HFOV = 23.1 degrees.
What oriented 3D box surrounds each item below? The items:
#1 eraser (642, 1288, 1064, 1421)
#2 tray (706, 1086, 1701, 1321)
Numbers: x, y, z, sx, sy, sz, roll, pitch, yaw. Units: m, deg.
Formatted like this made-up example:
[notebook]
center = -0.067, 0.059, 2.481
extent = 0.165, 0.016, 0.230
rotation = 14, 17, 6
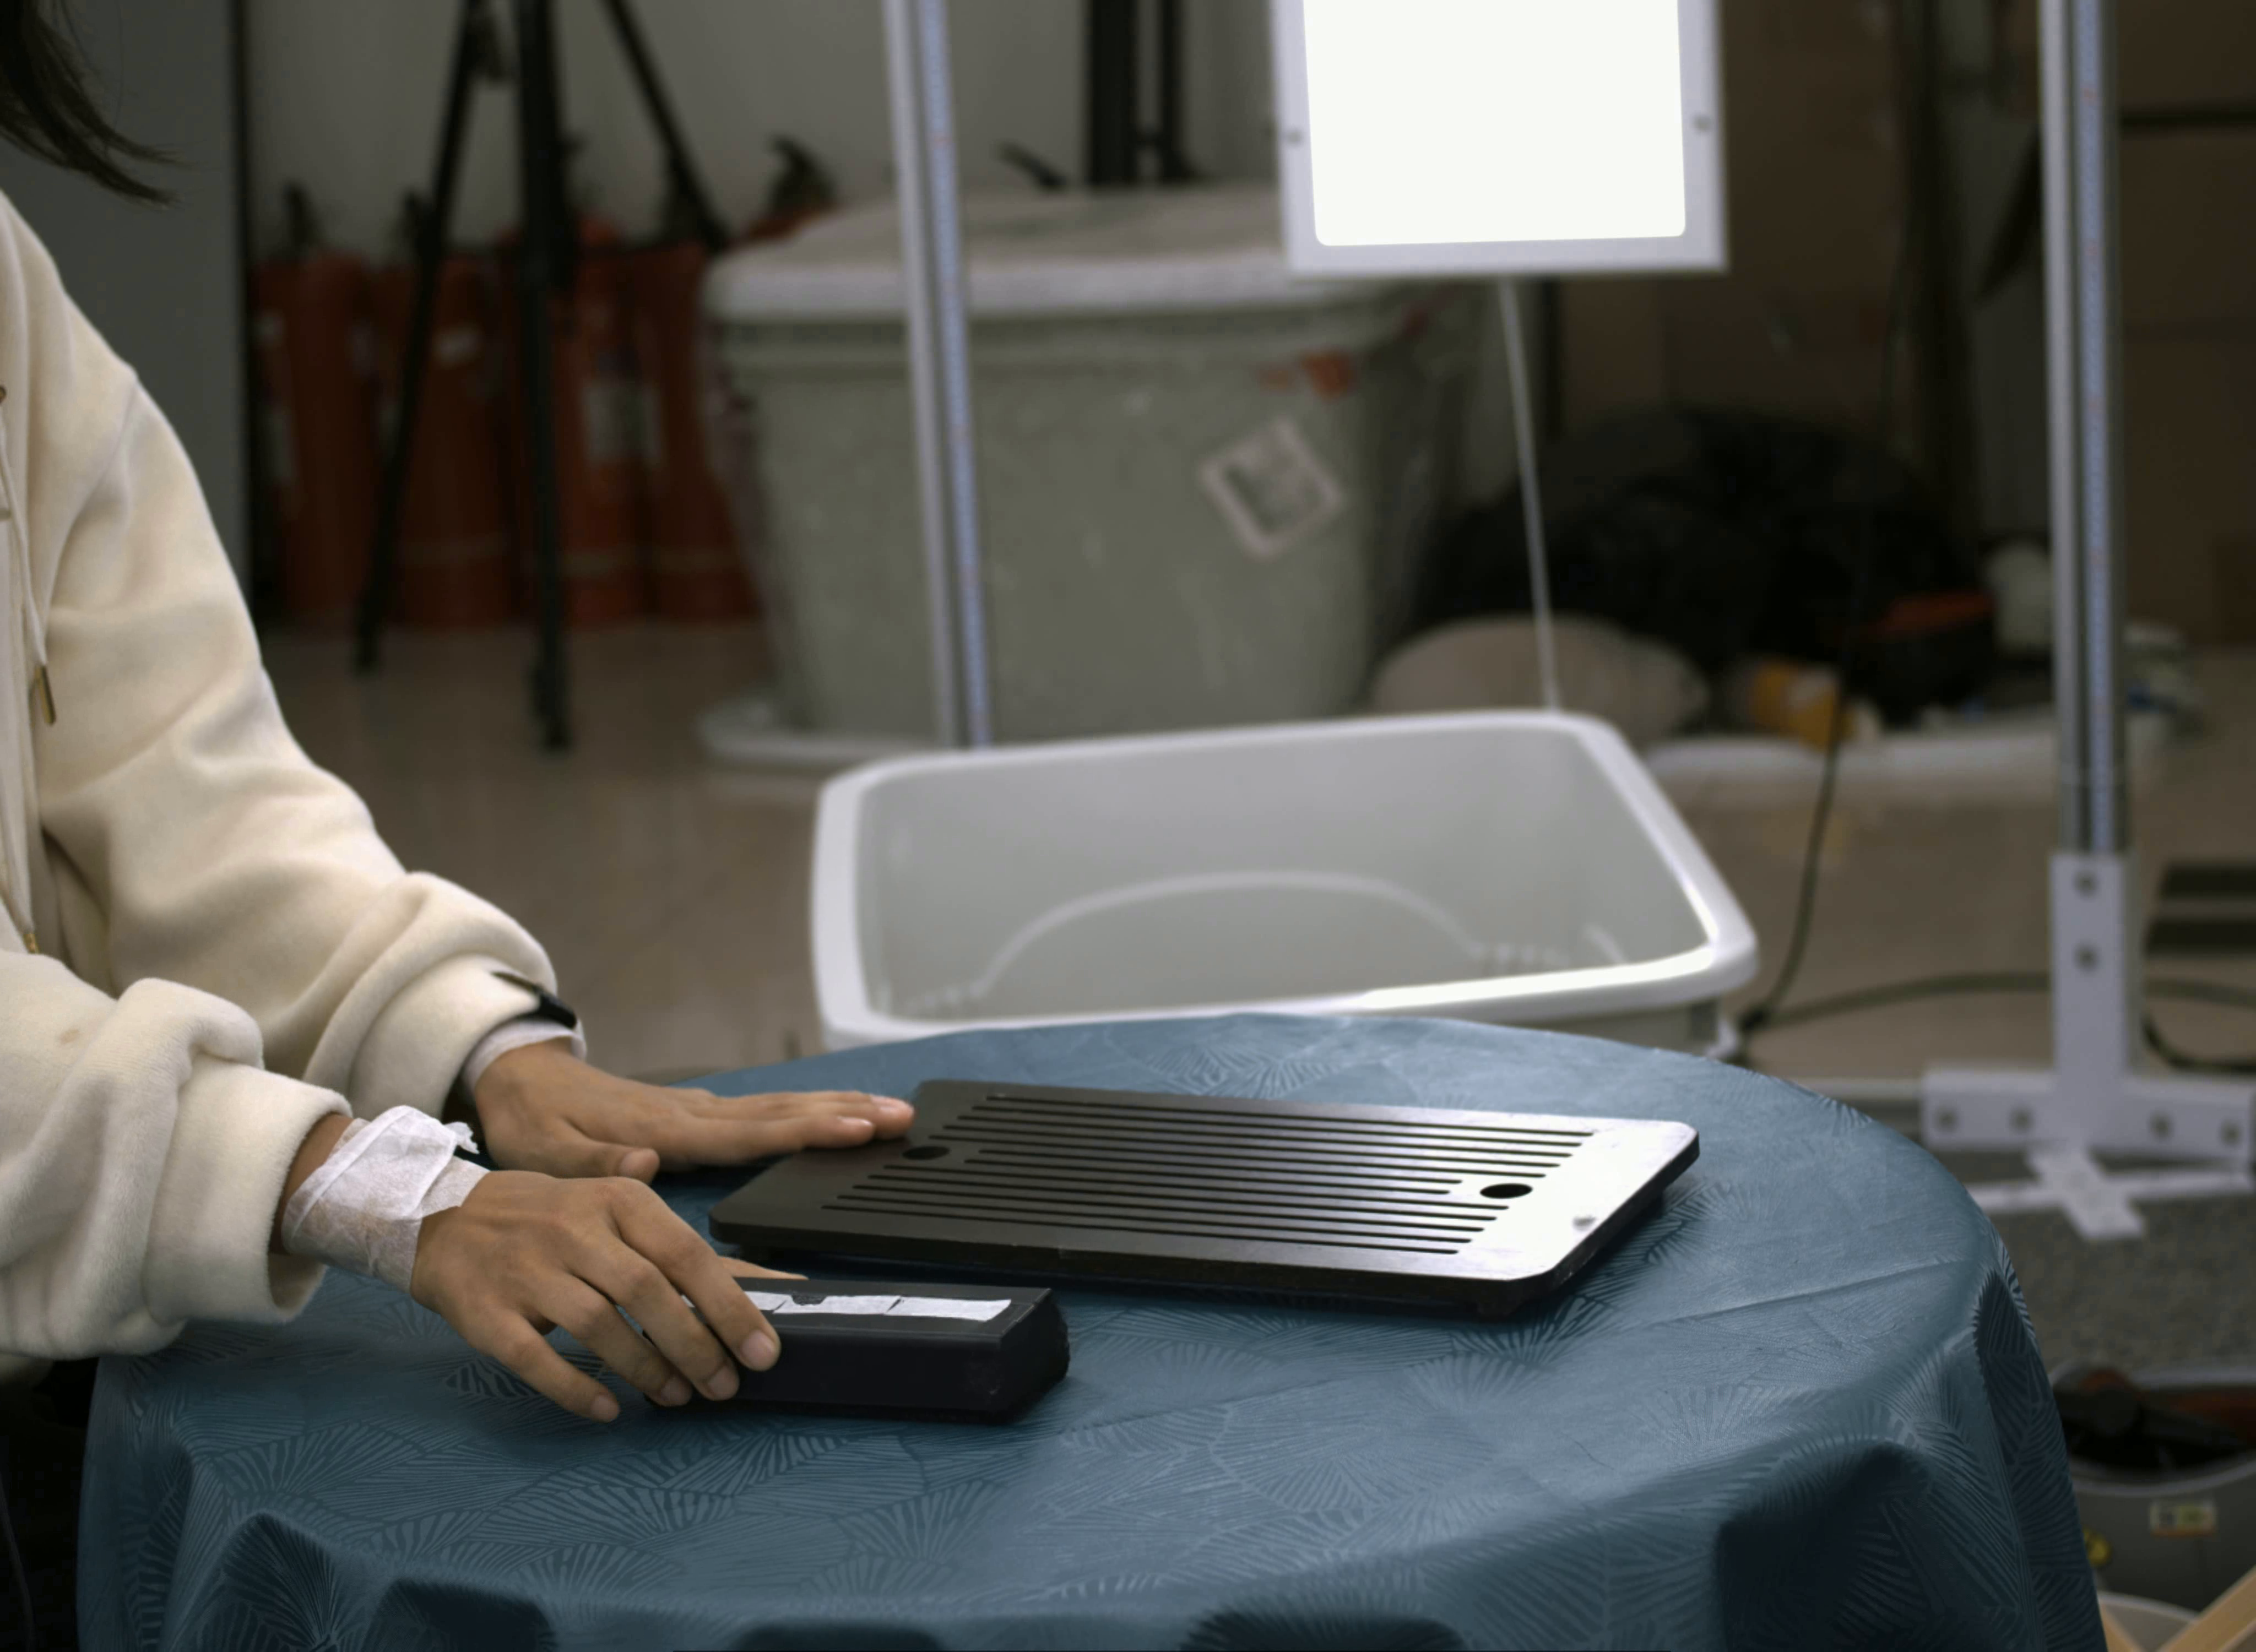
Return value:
[eraser]
center = -0.084, 0.164, 1.720
extent = 0.127, 0.030, 0.052
rotation = -1, 12, 22
[tray]
center = 0.026, 0.125, 1.856
extent = 0.311, 0.019, 0.166
rotation = 2, 15, 27
